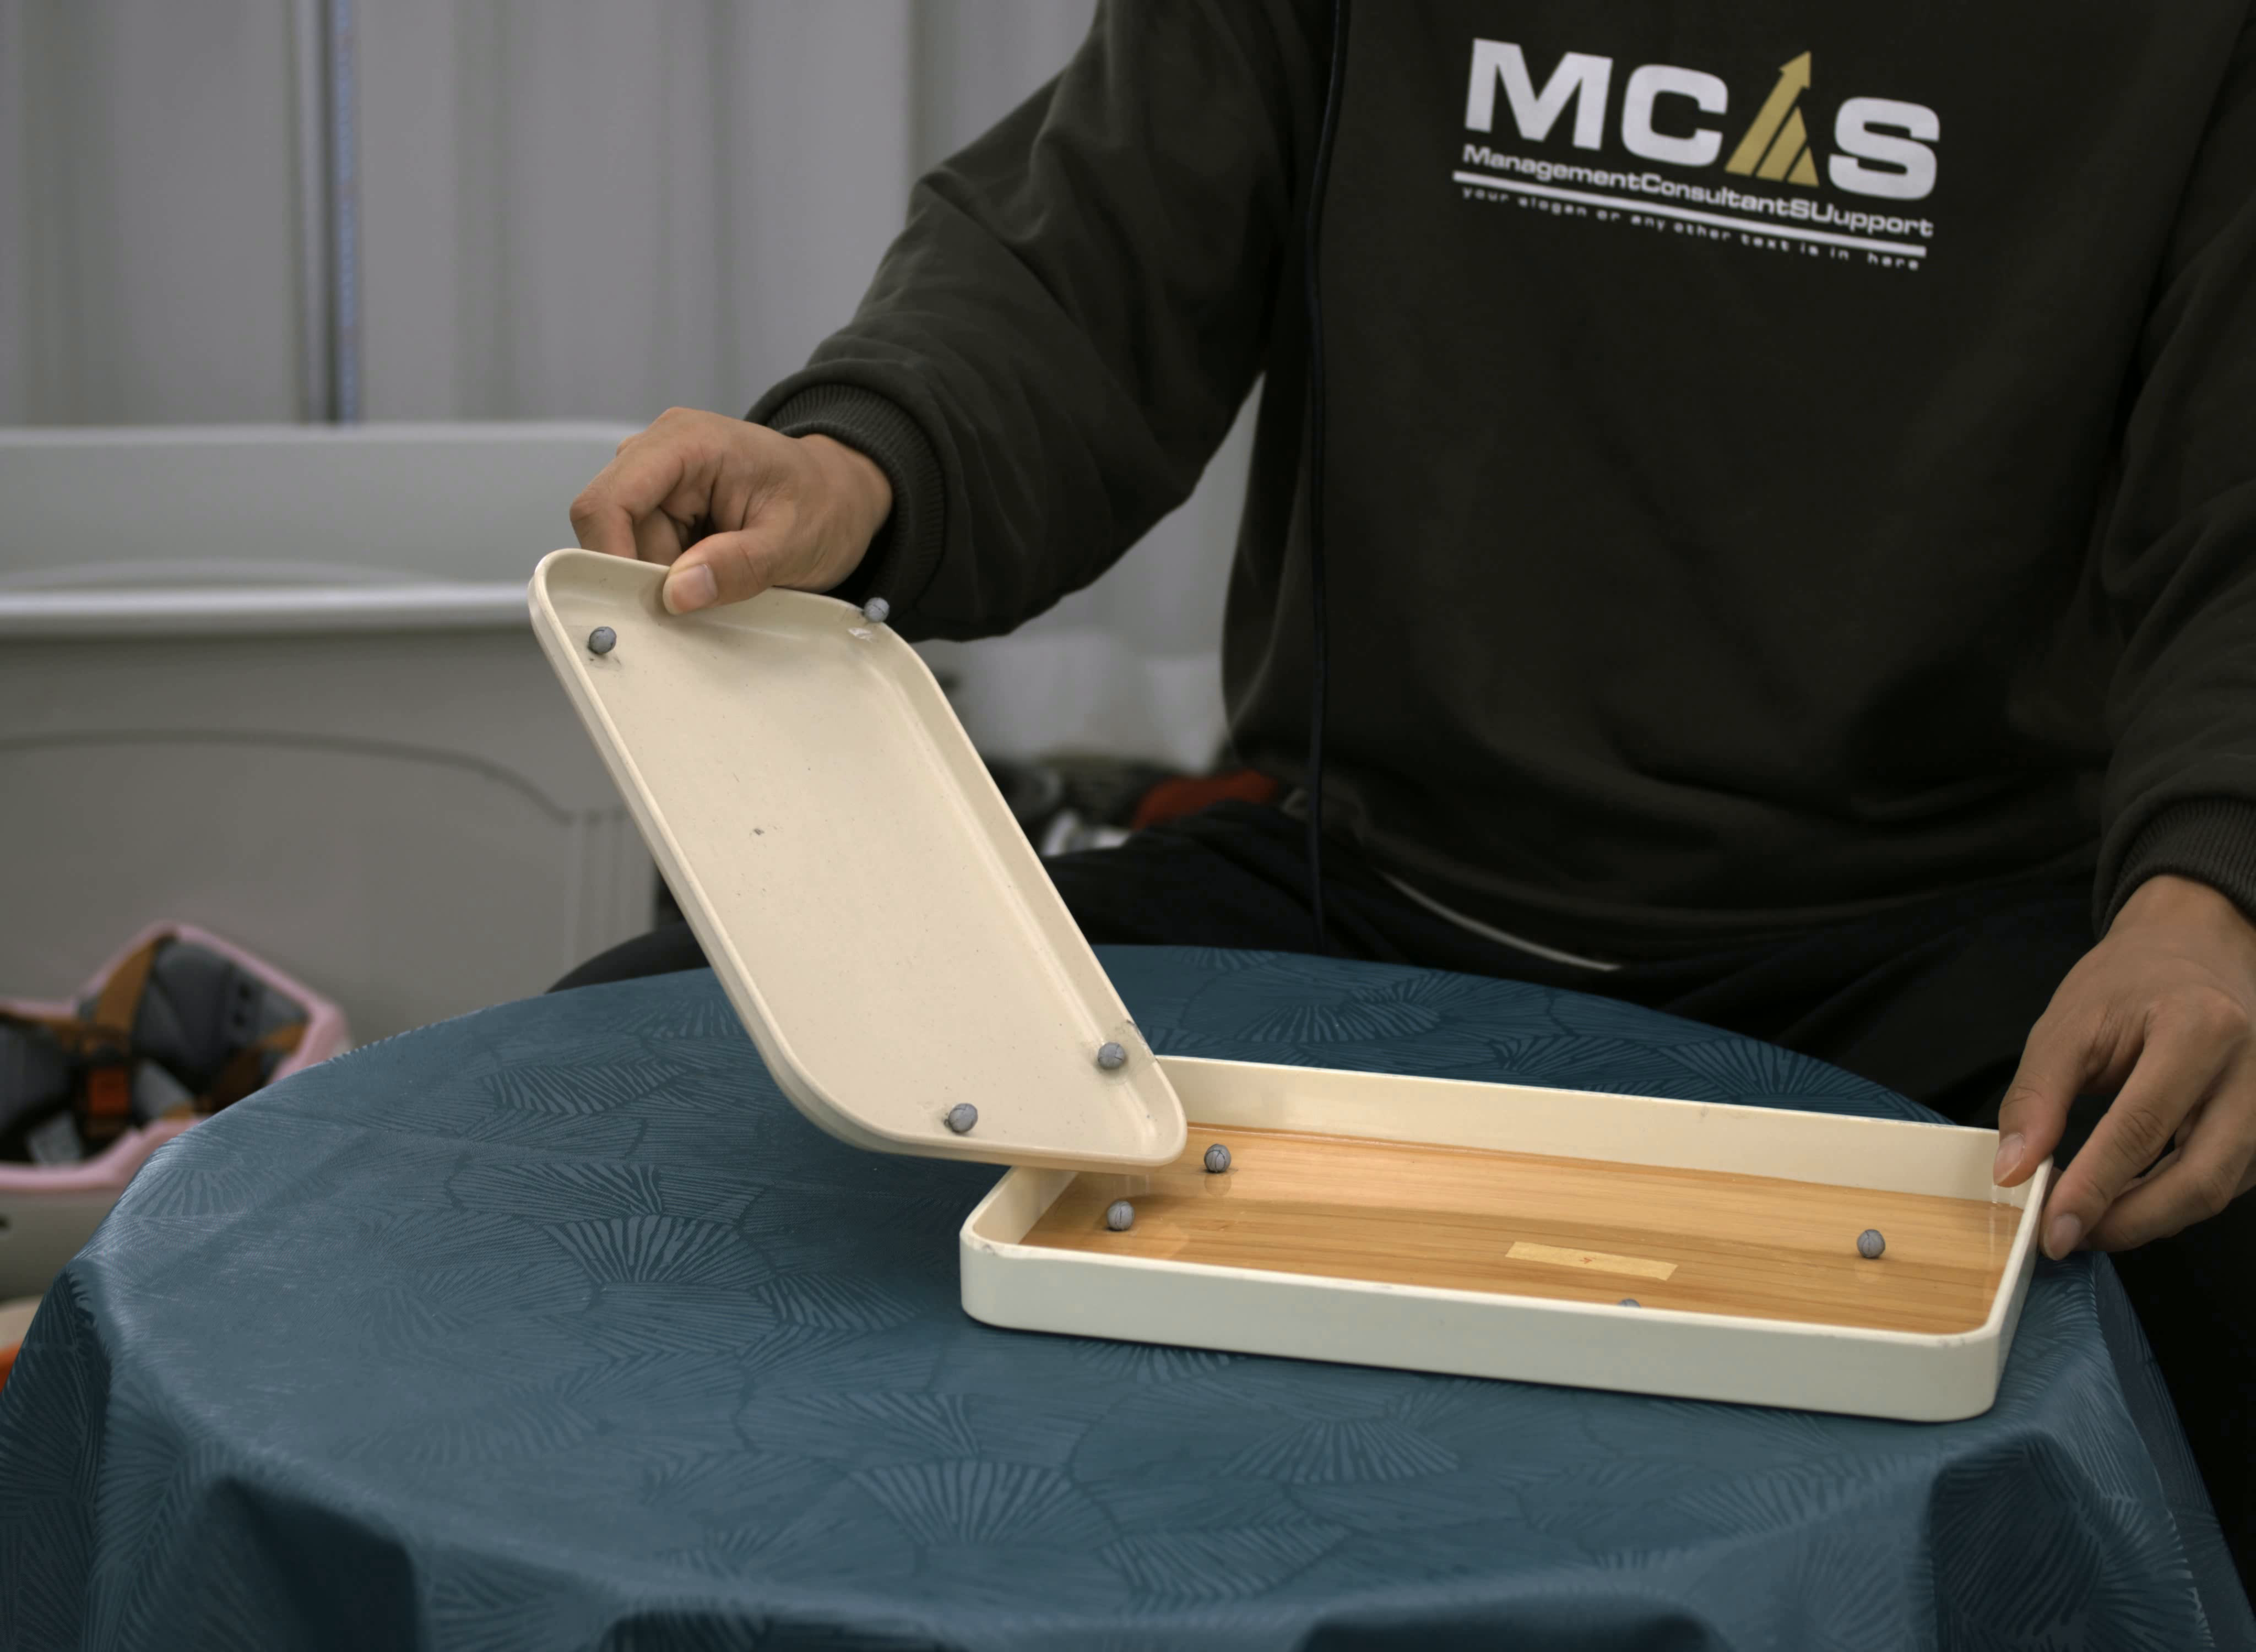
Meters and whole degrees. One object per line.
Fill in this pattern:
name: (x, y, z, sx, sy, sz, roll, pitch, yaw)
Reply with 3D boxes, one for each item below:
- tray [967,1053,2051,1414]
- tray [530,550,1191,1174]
tray: (0.117, 0.118, 1.566, 0.298, 0.027, 0.191, 5, 16, 13)
tray: (-0.084, 0.013, 1.614, 0.173, 0.017, 0.237, 9, 42, -48)
